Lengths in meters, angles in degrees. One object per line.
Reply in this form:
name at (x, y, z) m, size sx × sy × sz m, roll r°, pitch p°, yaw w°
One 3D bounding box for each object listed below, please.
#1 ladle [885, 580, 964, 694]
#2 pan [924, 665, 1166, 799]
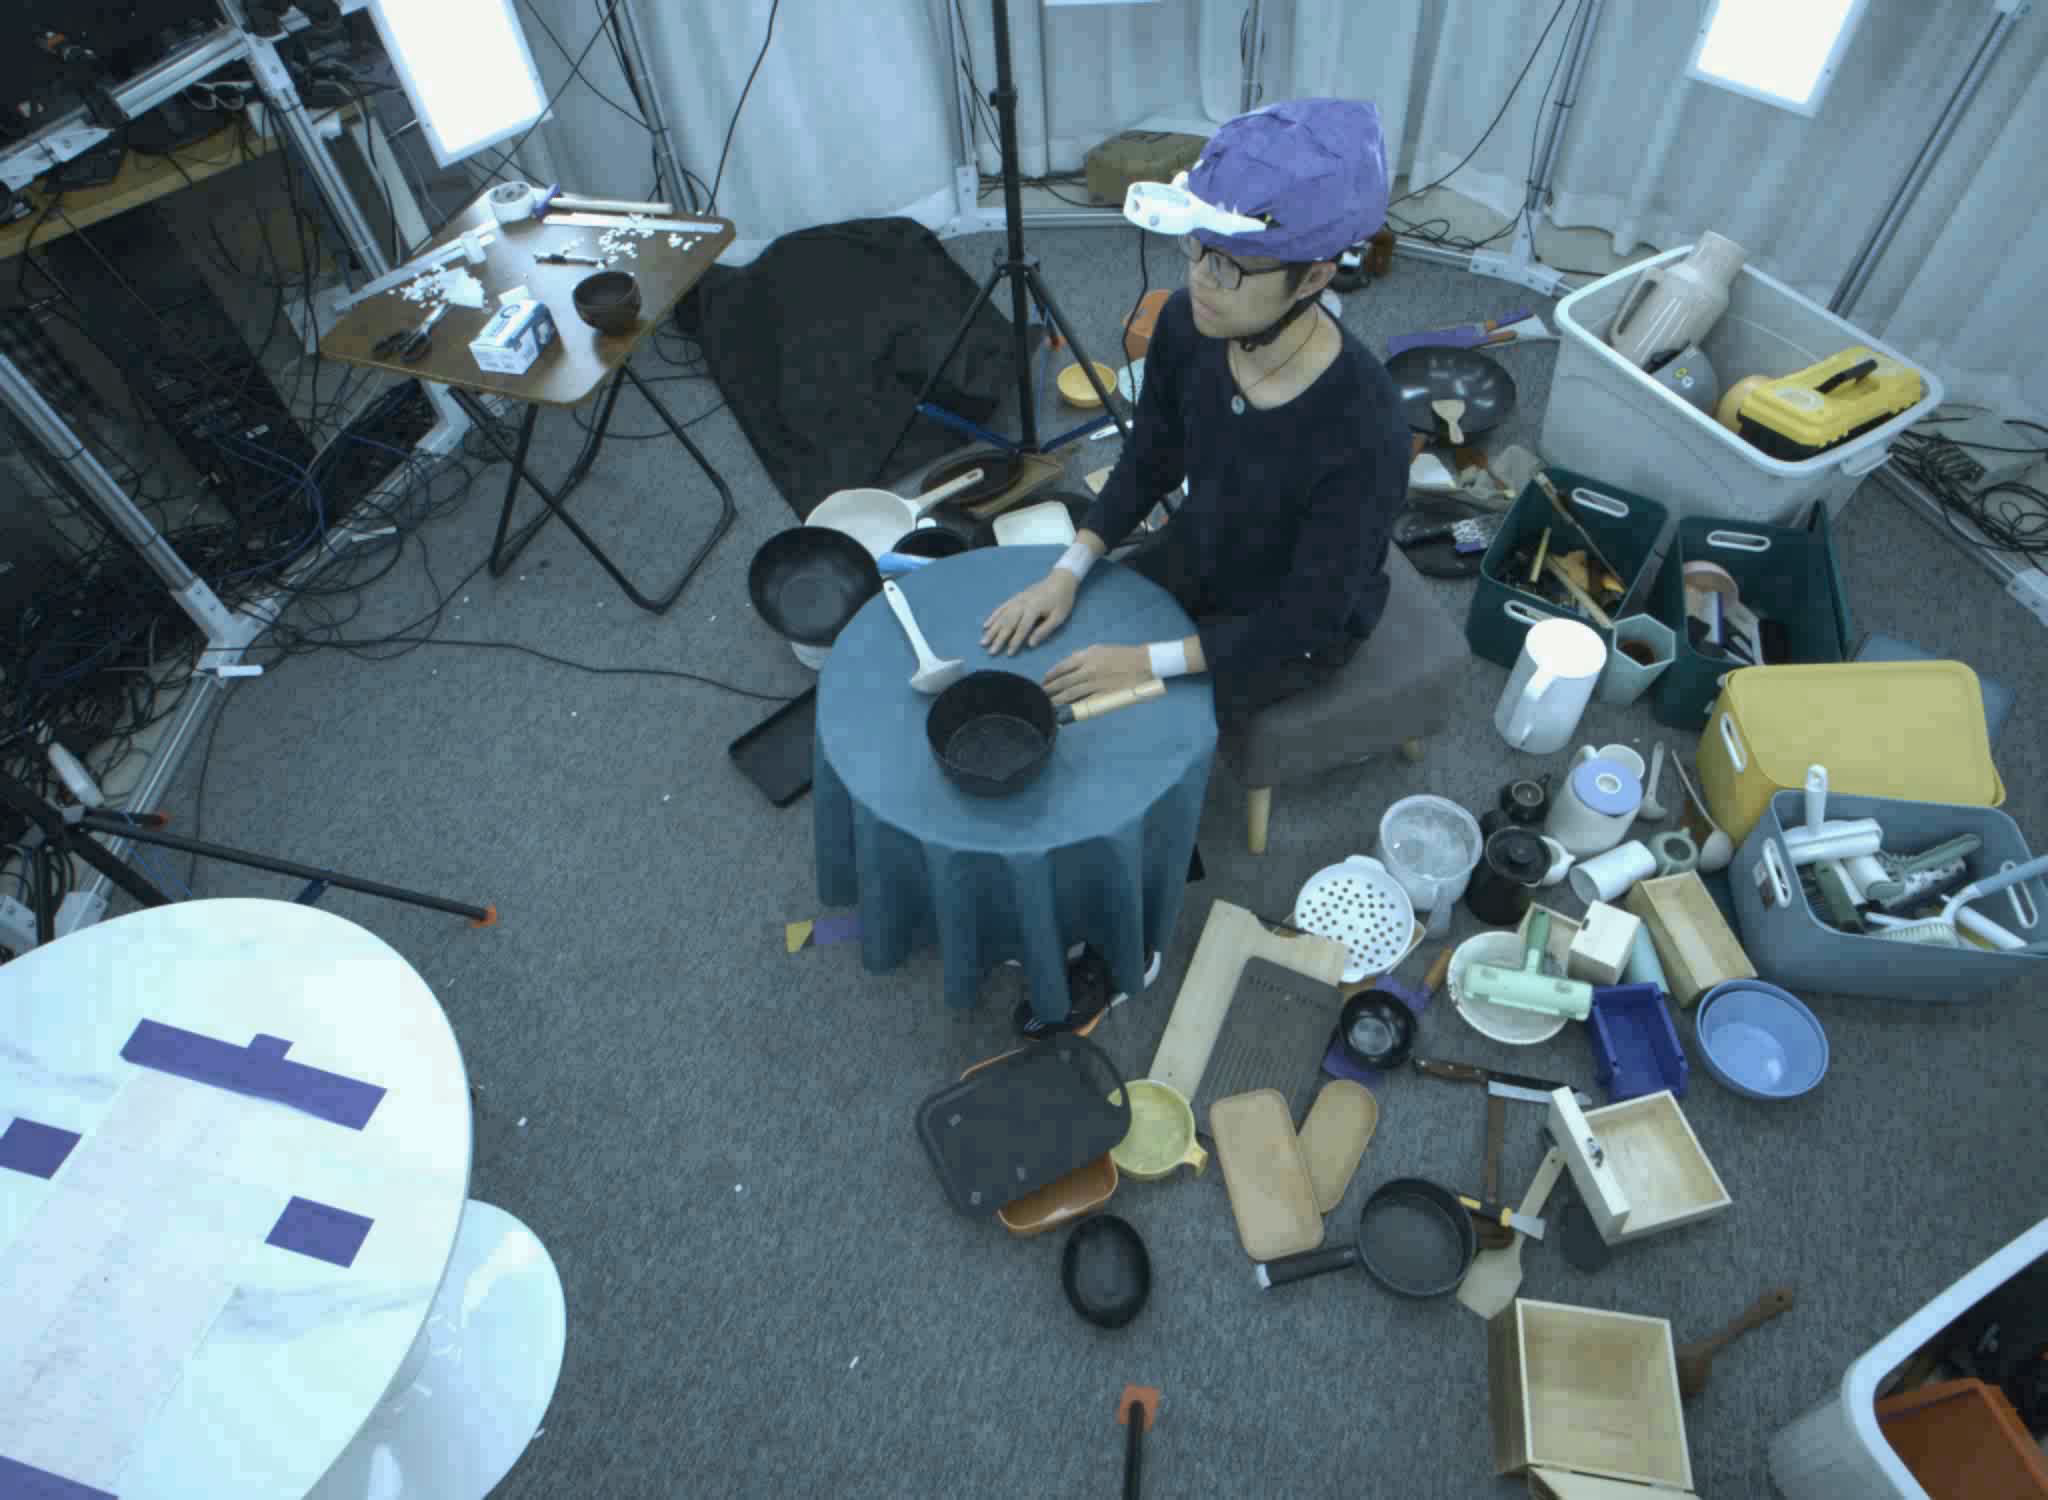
ladle at (-0.173, -0.193, 1.890) m, size 0.089 × 0.070 × 0.270 m, roll -25°, pitch 57°, yaw -5°
pan at (0.033, -0.037, 1.746) m, size 0.344 × 0.109 × 0.204 m, roll -11°, pitch 54°, yaw -4°
